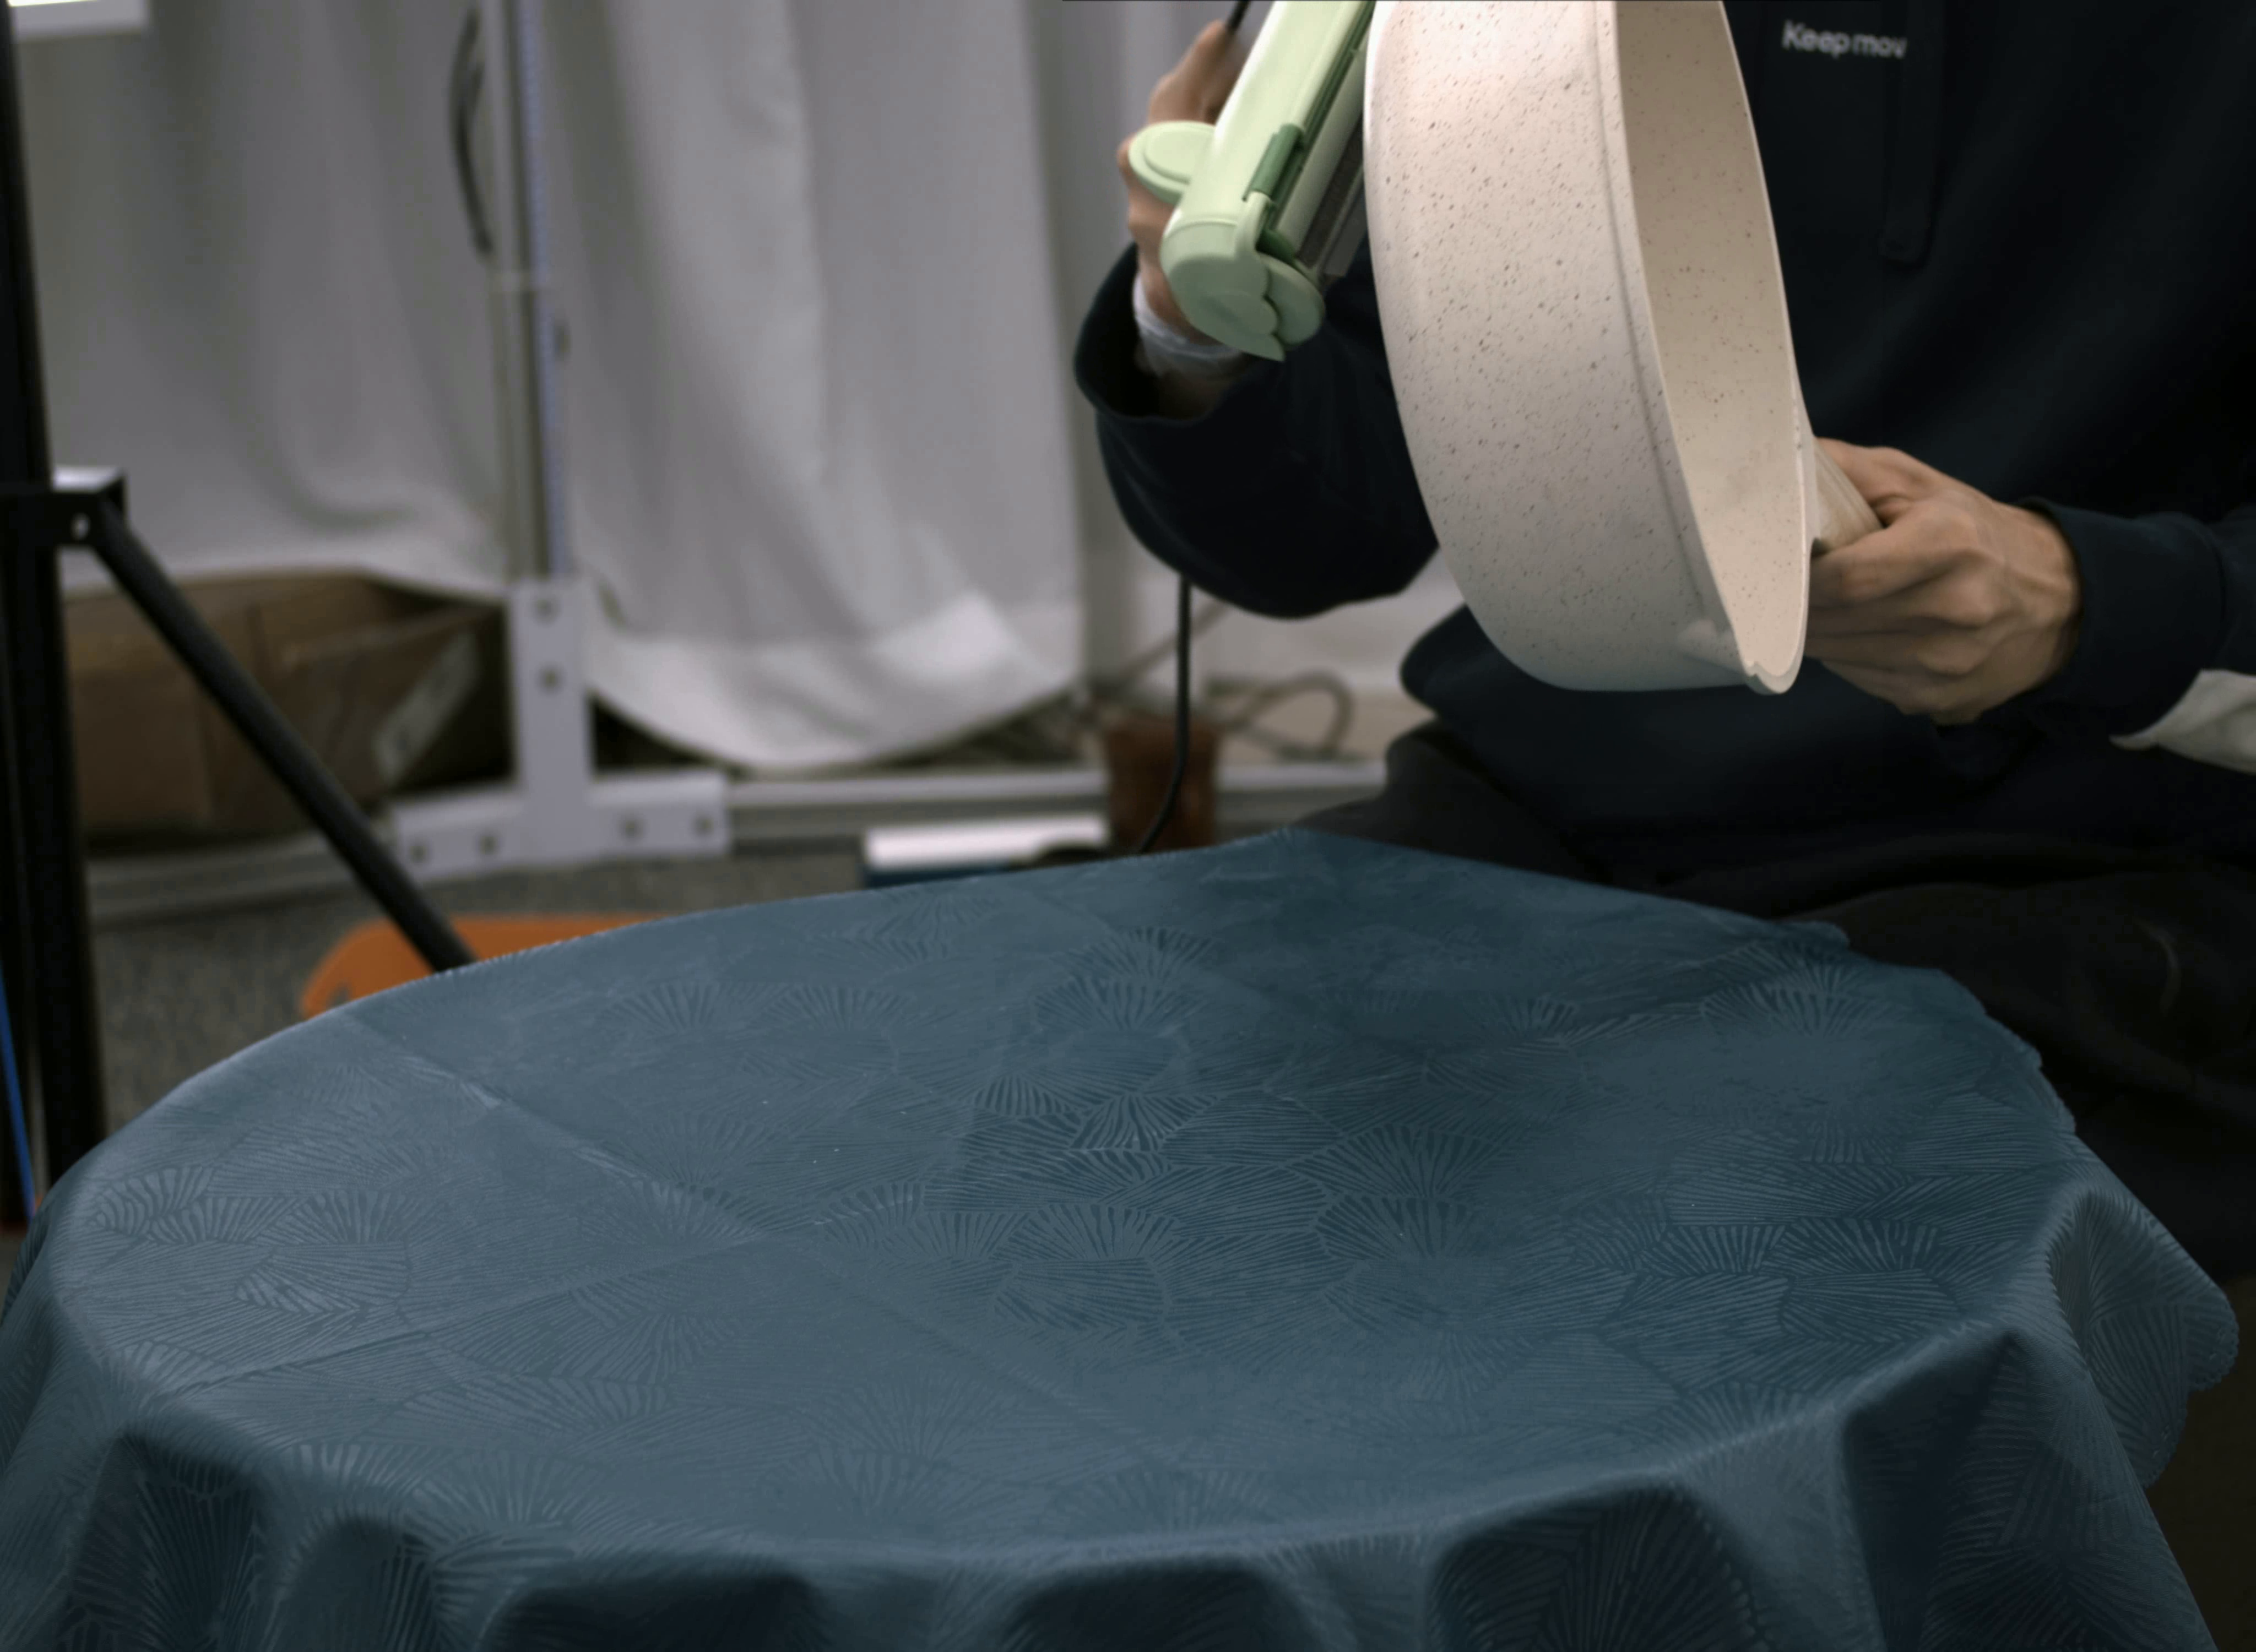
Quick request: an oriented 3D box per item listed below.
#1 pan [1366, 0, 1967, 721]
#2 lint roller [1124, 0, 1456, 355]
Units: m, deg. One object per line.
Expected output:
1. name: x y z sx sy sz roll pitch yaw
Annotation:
1. pan: 0.169 -0.116 1.628 0.103 0.266 0.426 -12 -26 15
2. lint roller: 0.040 -0.222 1.658 0.081 0.199 0.185 28 -25 -10
